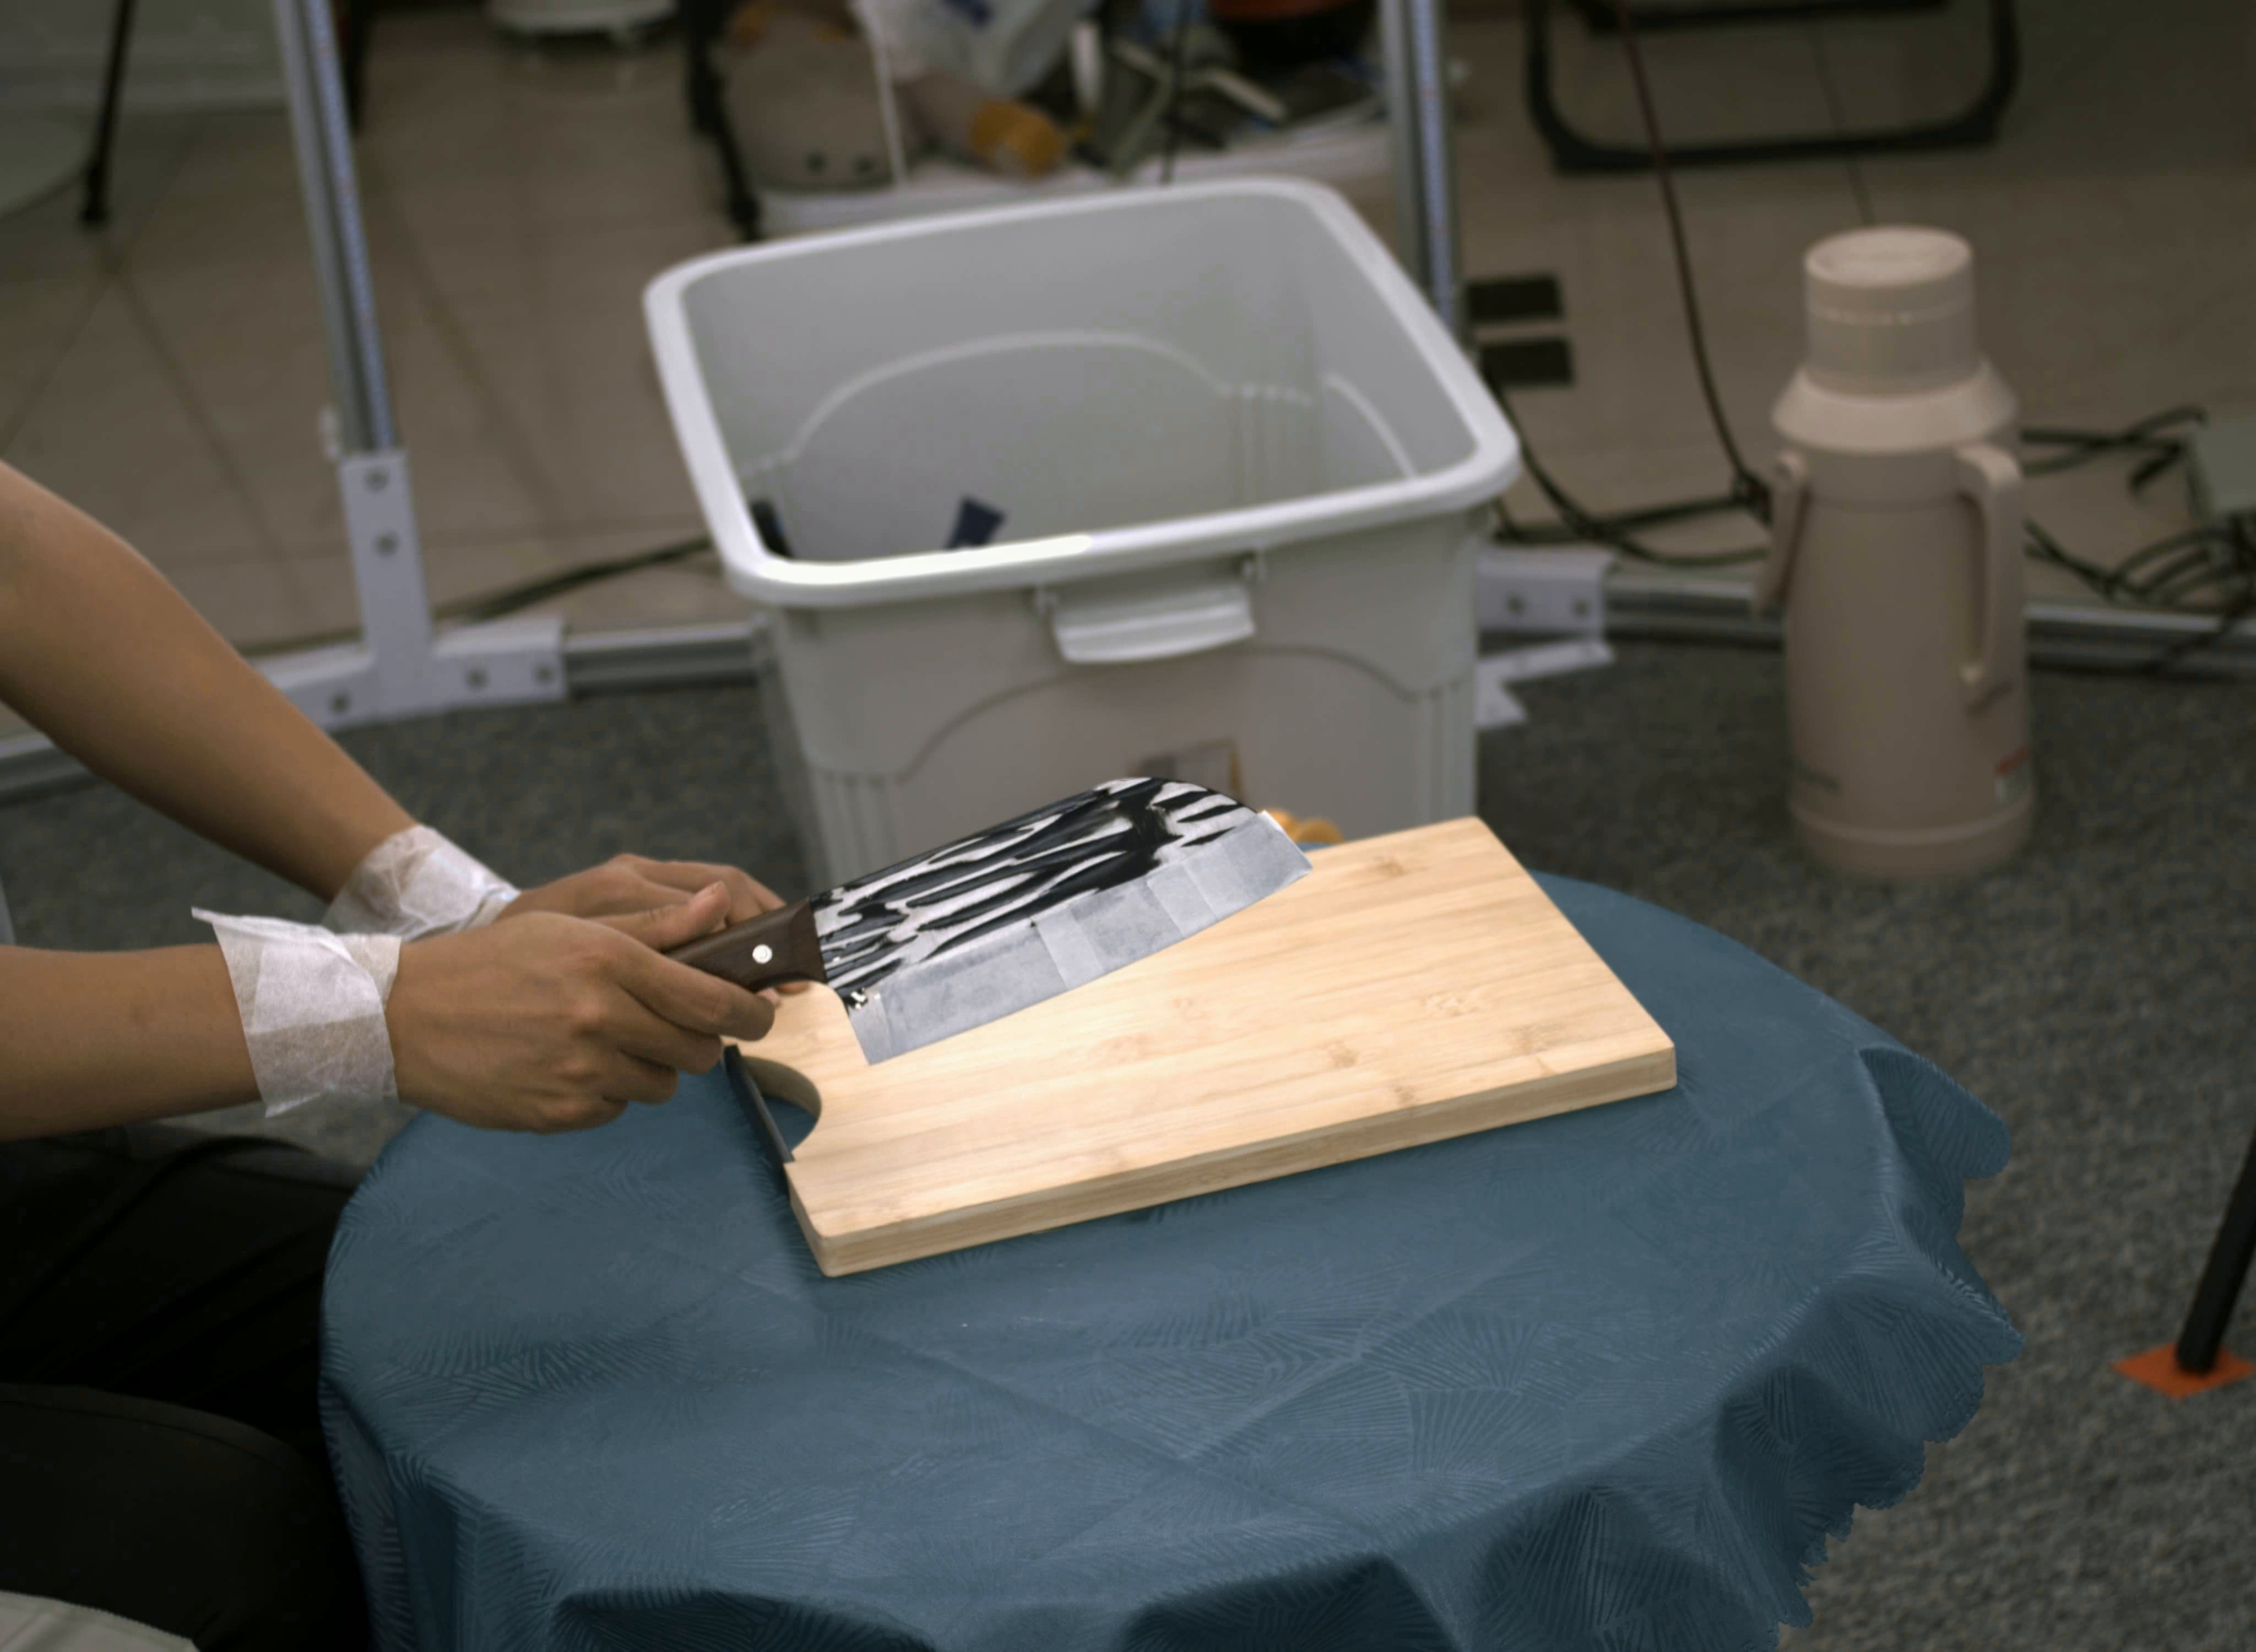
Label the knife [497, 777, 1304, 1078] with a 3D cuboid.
[{"bbox_3d":[-0.083,0.047,2.063,0.299,0.068,0.024,-20,6,5],"label":"knife"}]

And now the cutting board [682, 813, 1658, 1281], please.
[{"bbox_3d":[0.011,0.083,2.248,0.347,0.024,0.247,-12,25,-12],"label":"cutting board"}]
